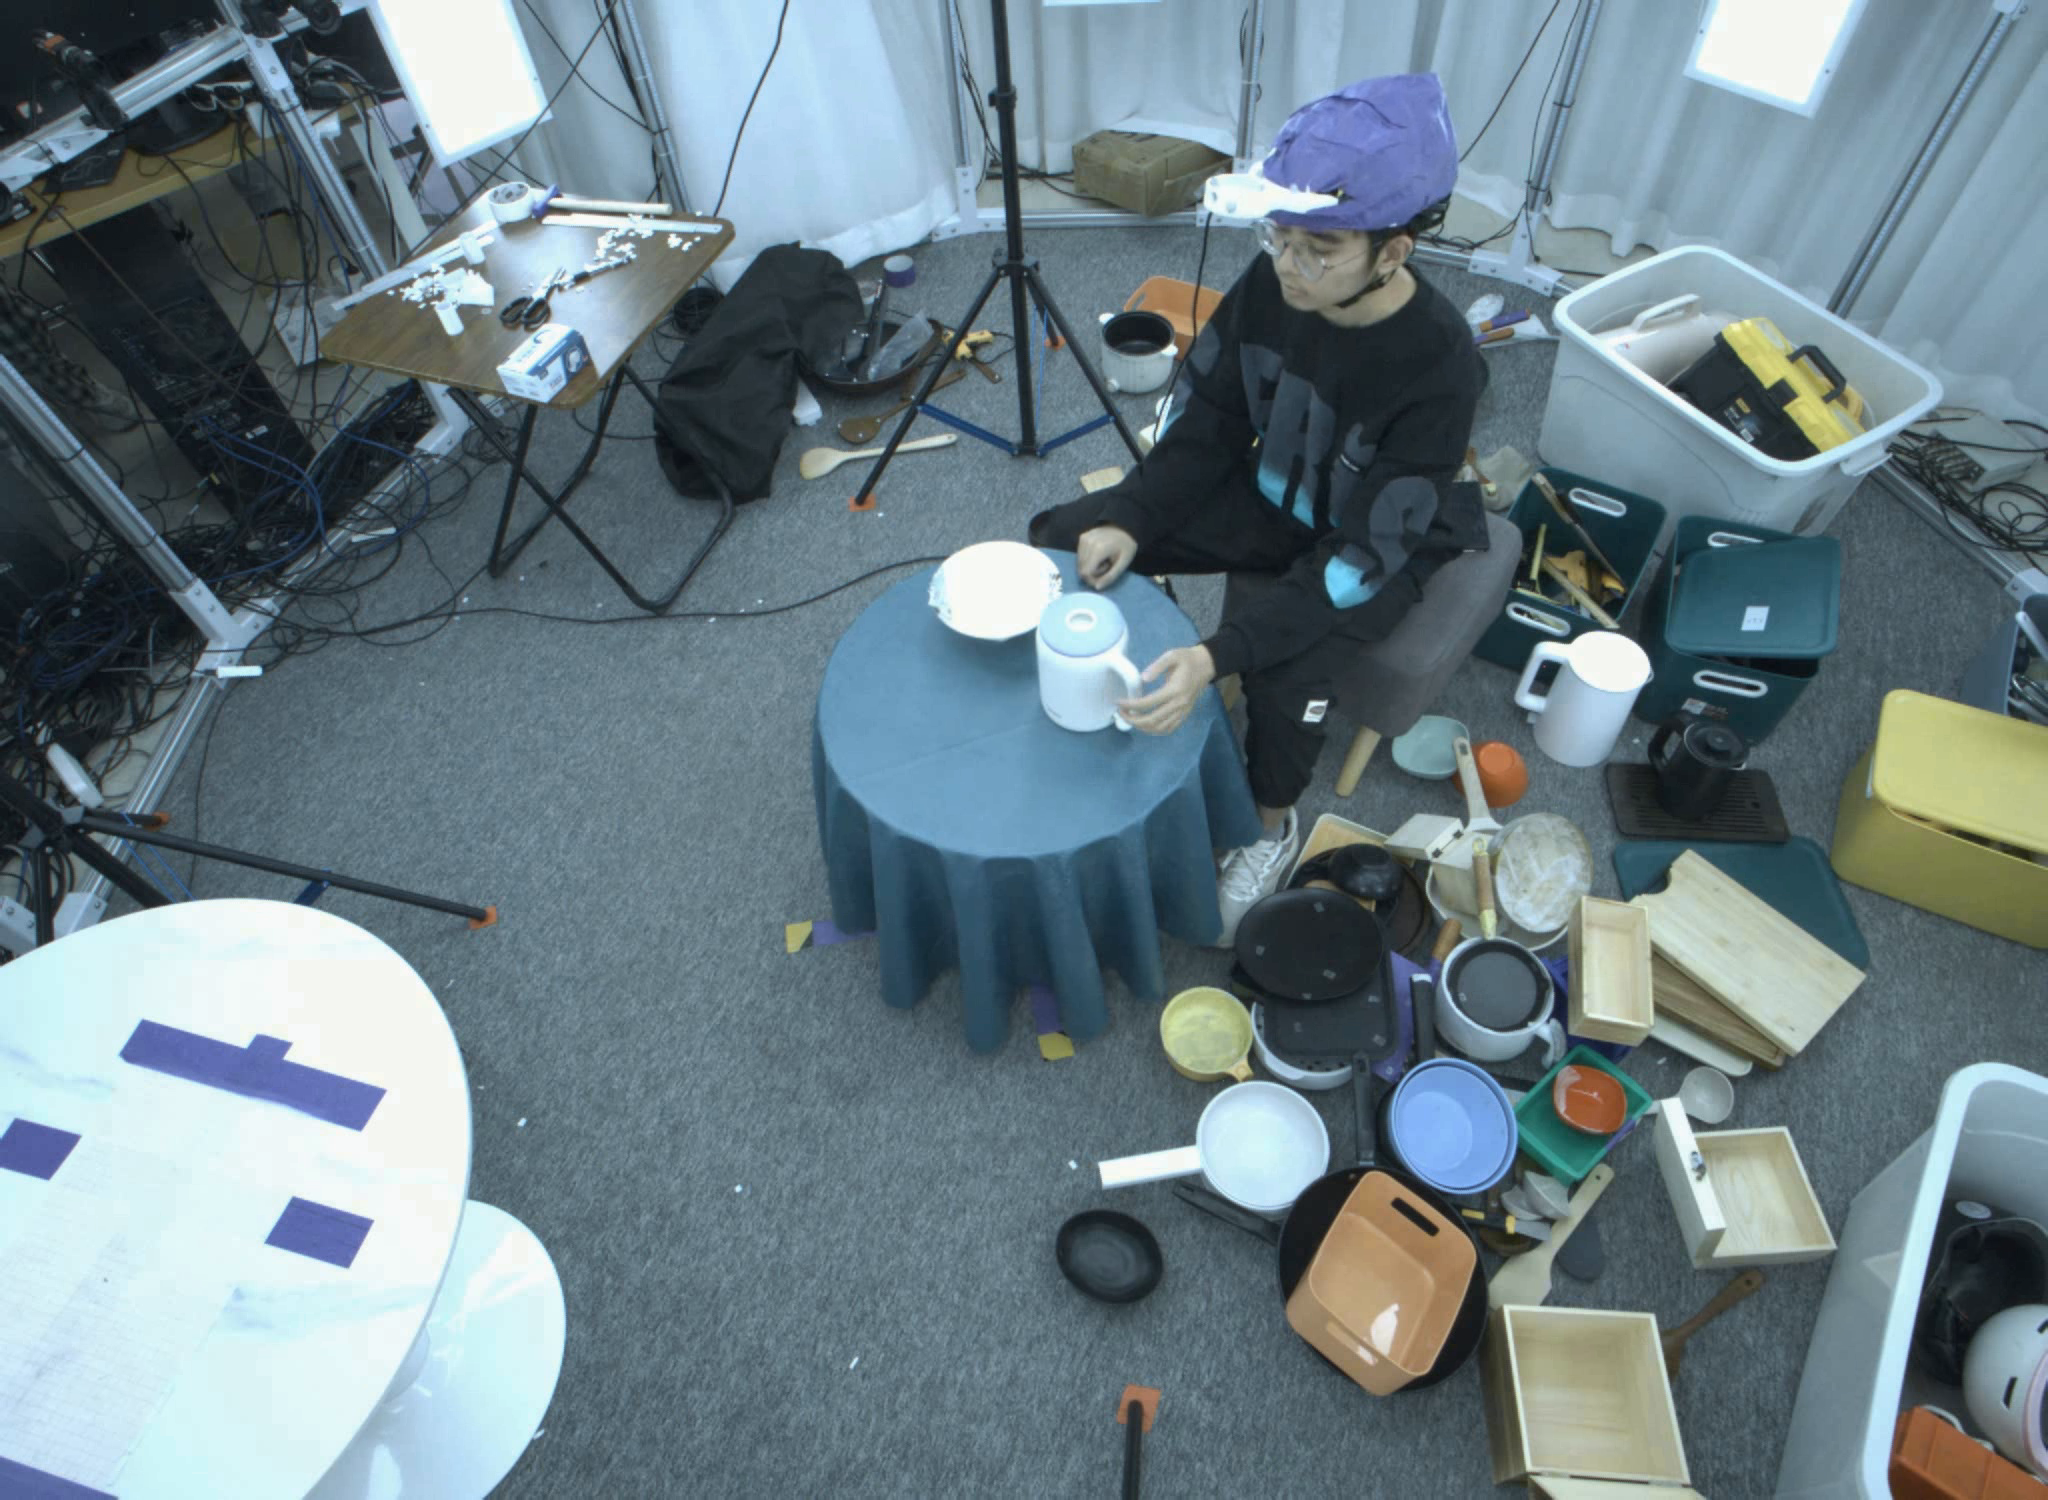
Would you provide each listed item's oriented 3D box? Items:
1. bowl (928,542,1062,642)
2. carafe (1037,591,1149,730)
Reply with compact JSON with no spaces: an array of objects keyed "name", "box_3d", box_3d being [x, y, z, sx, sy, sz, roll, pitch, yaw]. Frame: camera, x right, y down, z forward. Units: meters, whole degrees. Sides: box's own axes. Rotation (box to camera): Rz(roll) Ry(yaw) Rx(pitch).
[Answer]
[{"name":"bowl","box_3d":[-0.044,-0.225,1.898,0.204,0.078,0.202,1,53,0]},{"name":"carafe","box_3d":[0.103,-0.113,1.755,0.188,0.184,0.133,39,66,23]}]
